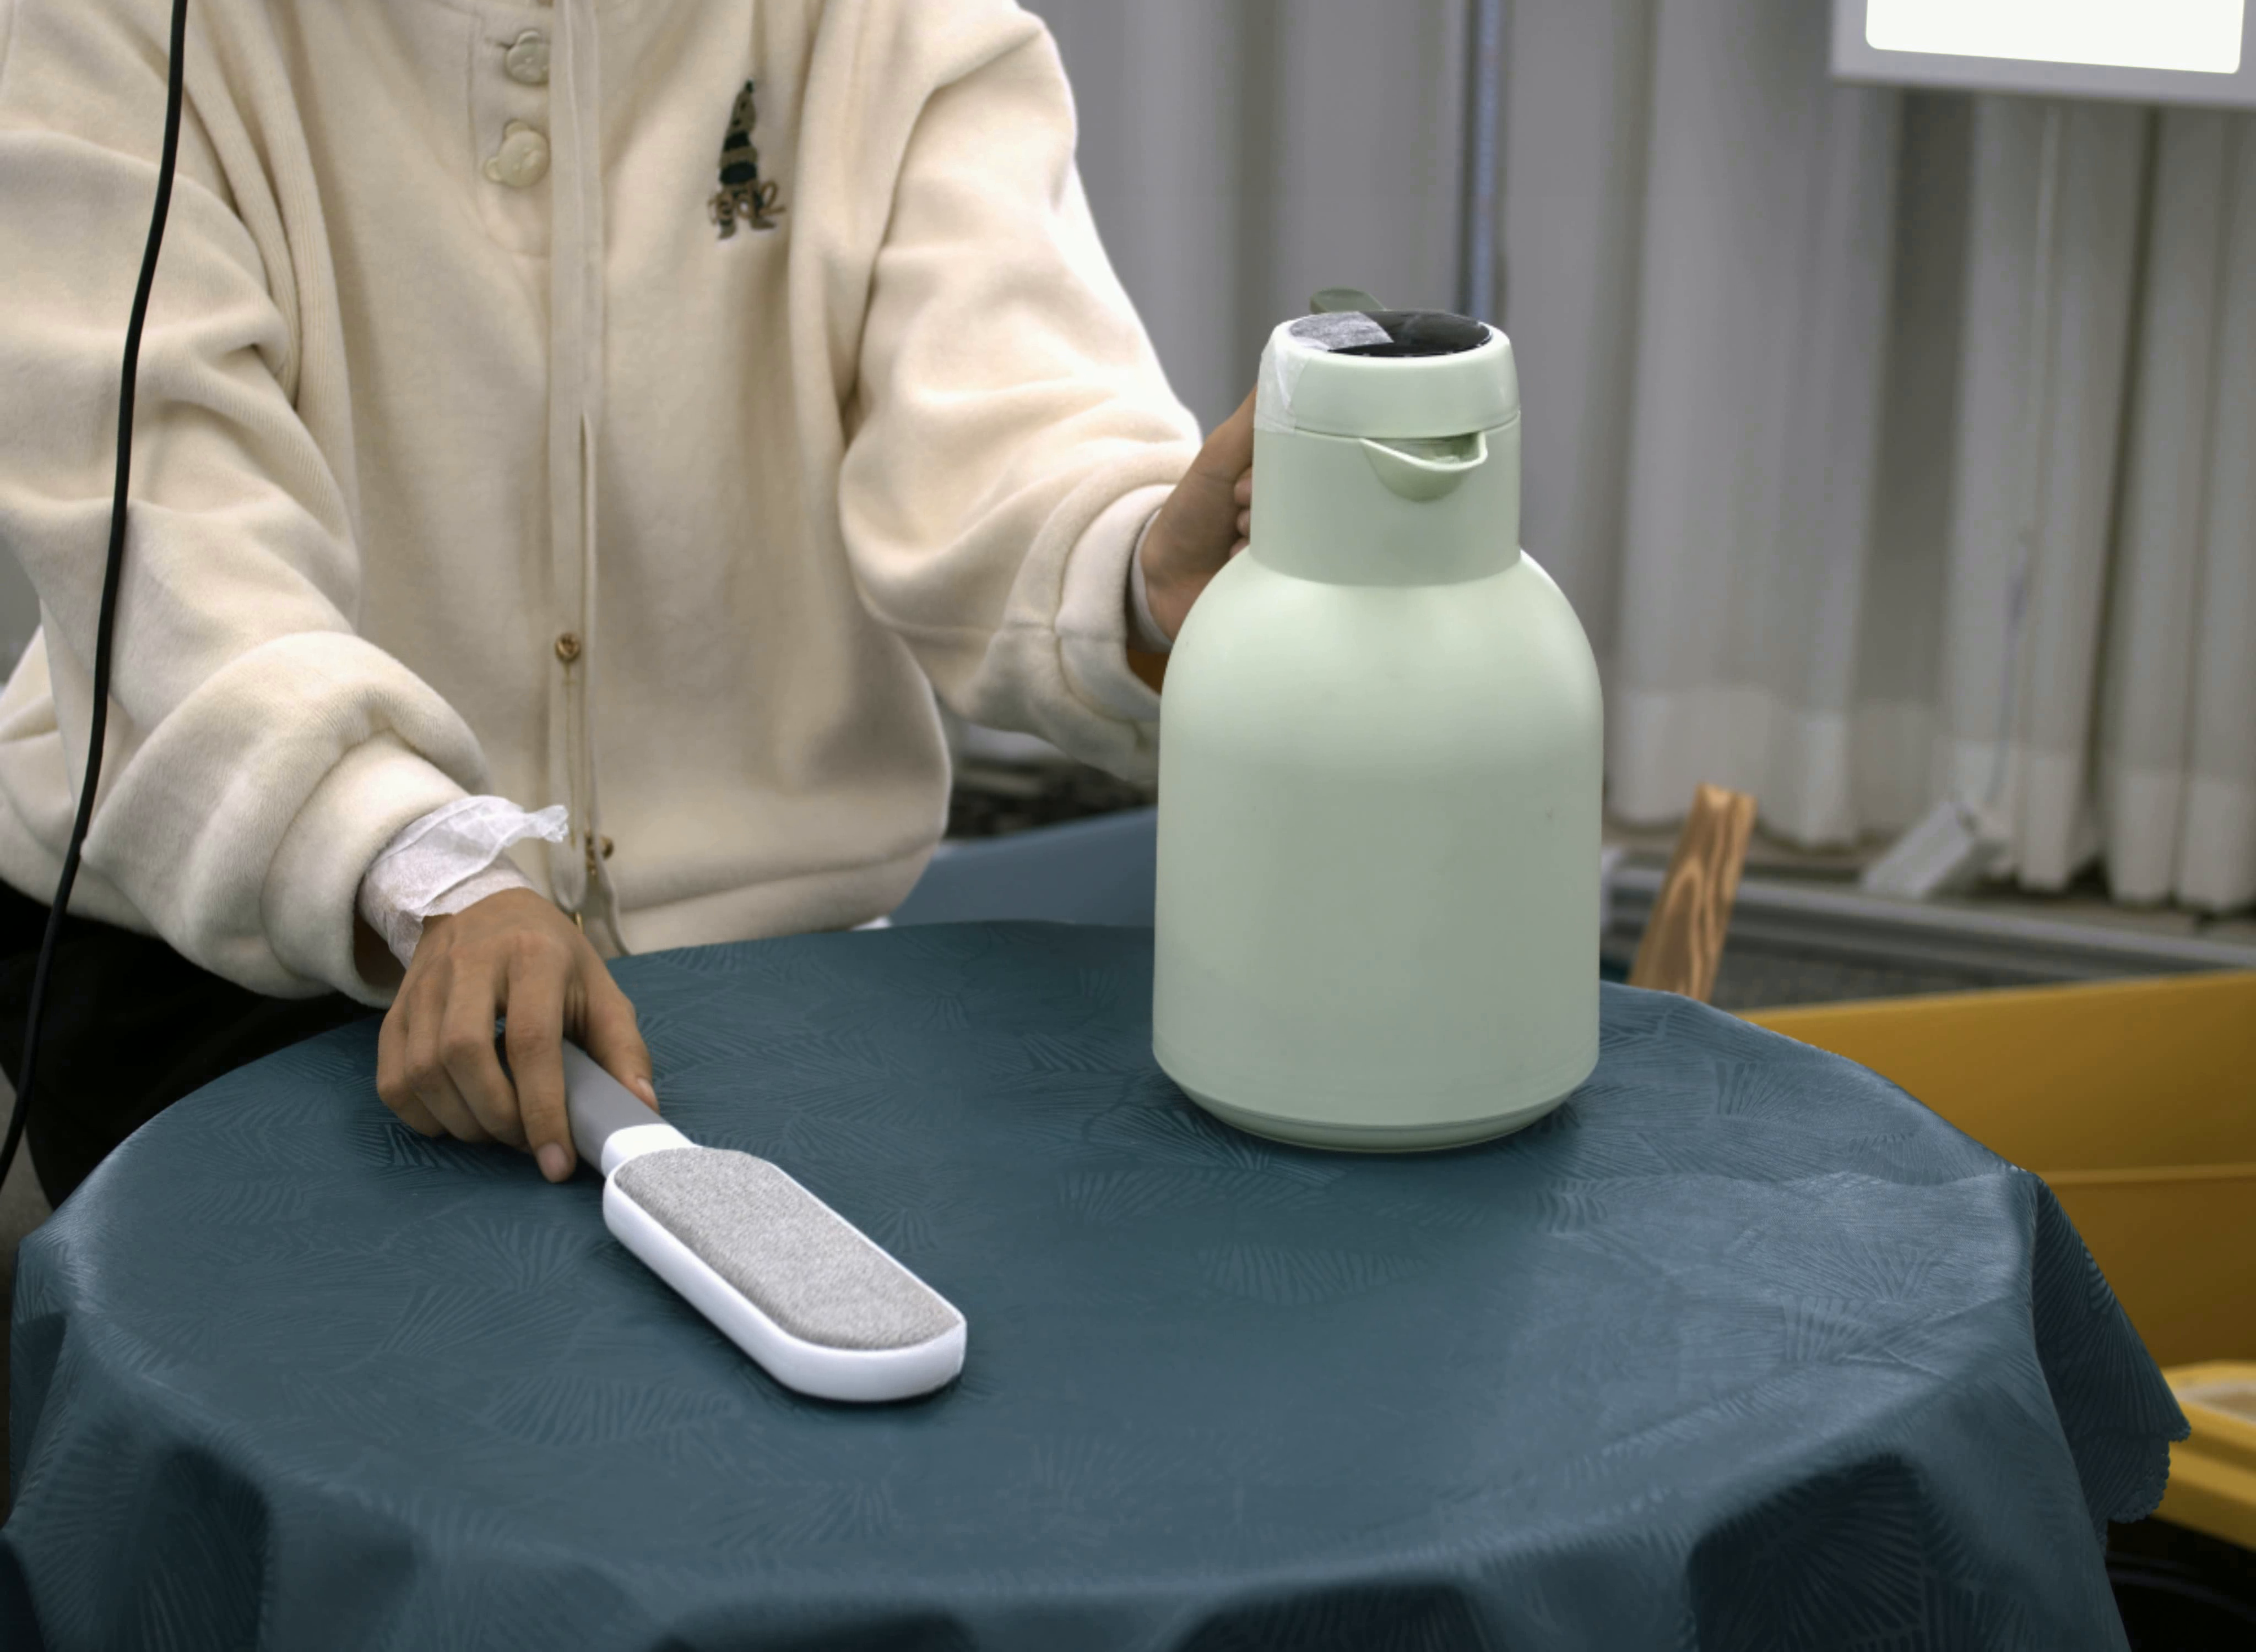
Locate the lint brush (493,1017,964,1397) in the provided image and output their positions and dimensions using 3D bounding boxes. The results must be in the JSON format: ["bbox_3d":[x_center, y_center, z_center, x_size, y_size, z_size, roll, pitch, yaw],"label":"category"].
[{"bbox_3d":[-0.128,0.109,1.570,0.060,0.021,0.305,-8,19,-25],"label":"lint brush"}]

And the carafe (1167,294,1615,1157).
[{"bbox_3d":[0.079,-0.037,1.686,0.144,0.259,0.185,-6,15,-13],"label":"carafe"}]
